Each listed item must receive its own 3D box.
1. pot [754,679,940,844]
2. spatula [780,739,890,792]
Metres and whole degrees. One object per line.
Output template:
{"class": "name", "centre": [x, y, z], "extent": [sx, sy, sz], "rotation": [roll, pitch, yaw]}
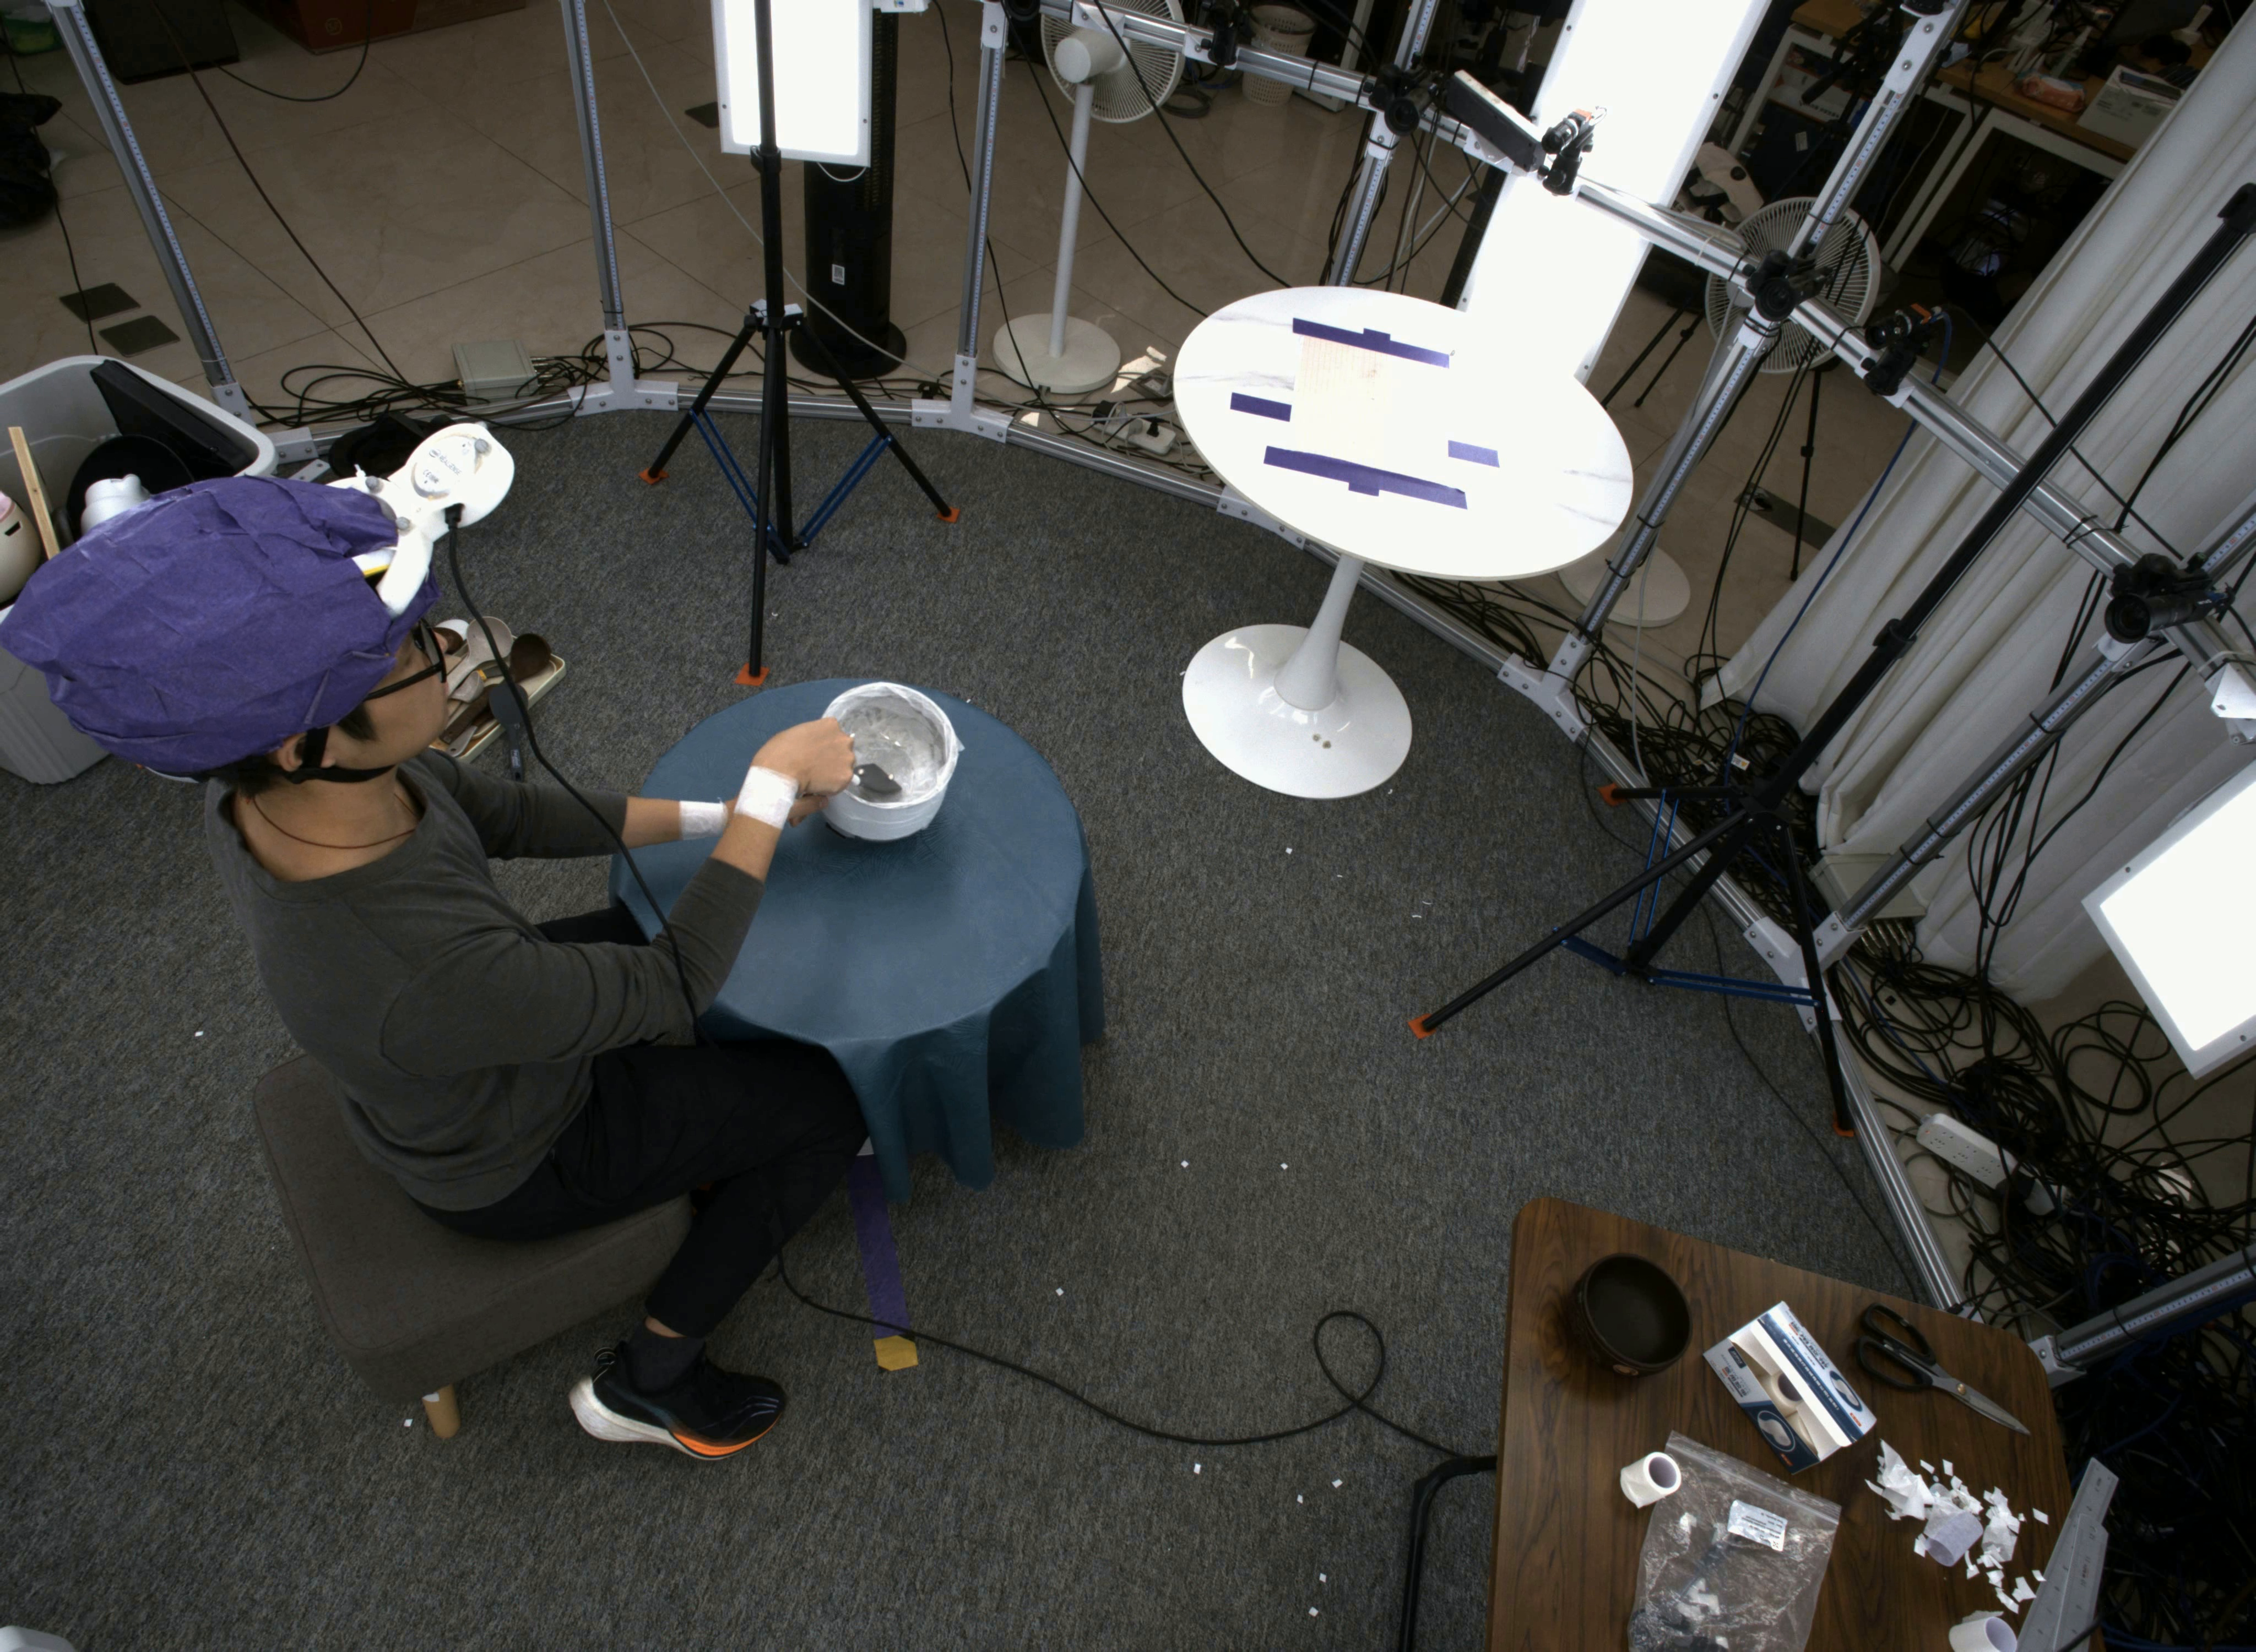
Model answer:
{"class": "pot", "centre": [-0.363, -0.068, 1.663], "extent": [0.235, 0.137, 0.177], "rotation": [-24, 76, -27]}
{"class": "spatula", "centre": [-0.351, -0.070, 1.558], "extent": [0.058, 0.289, 0.032], "rotation": [37, 90, 7]}
